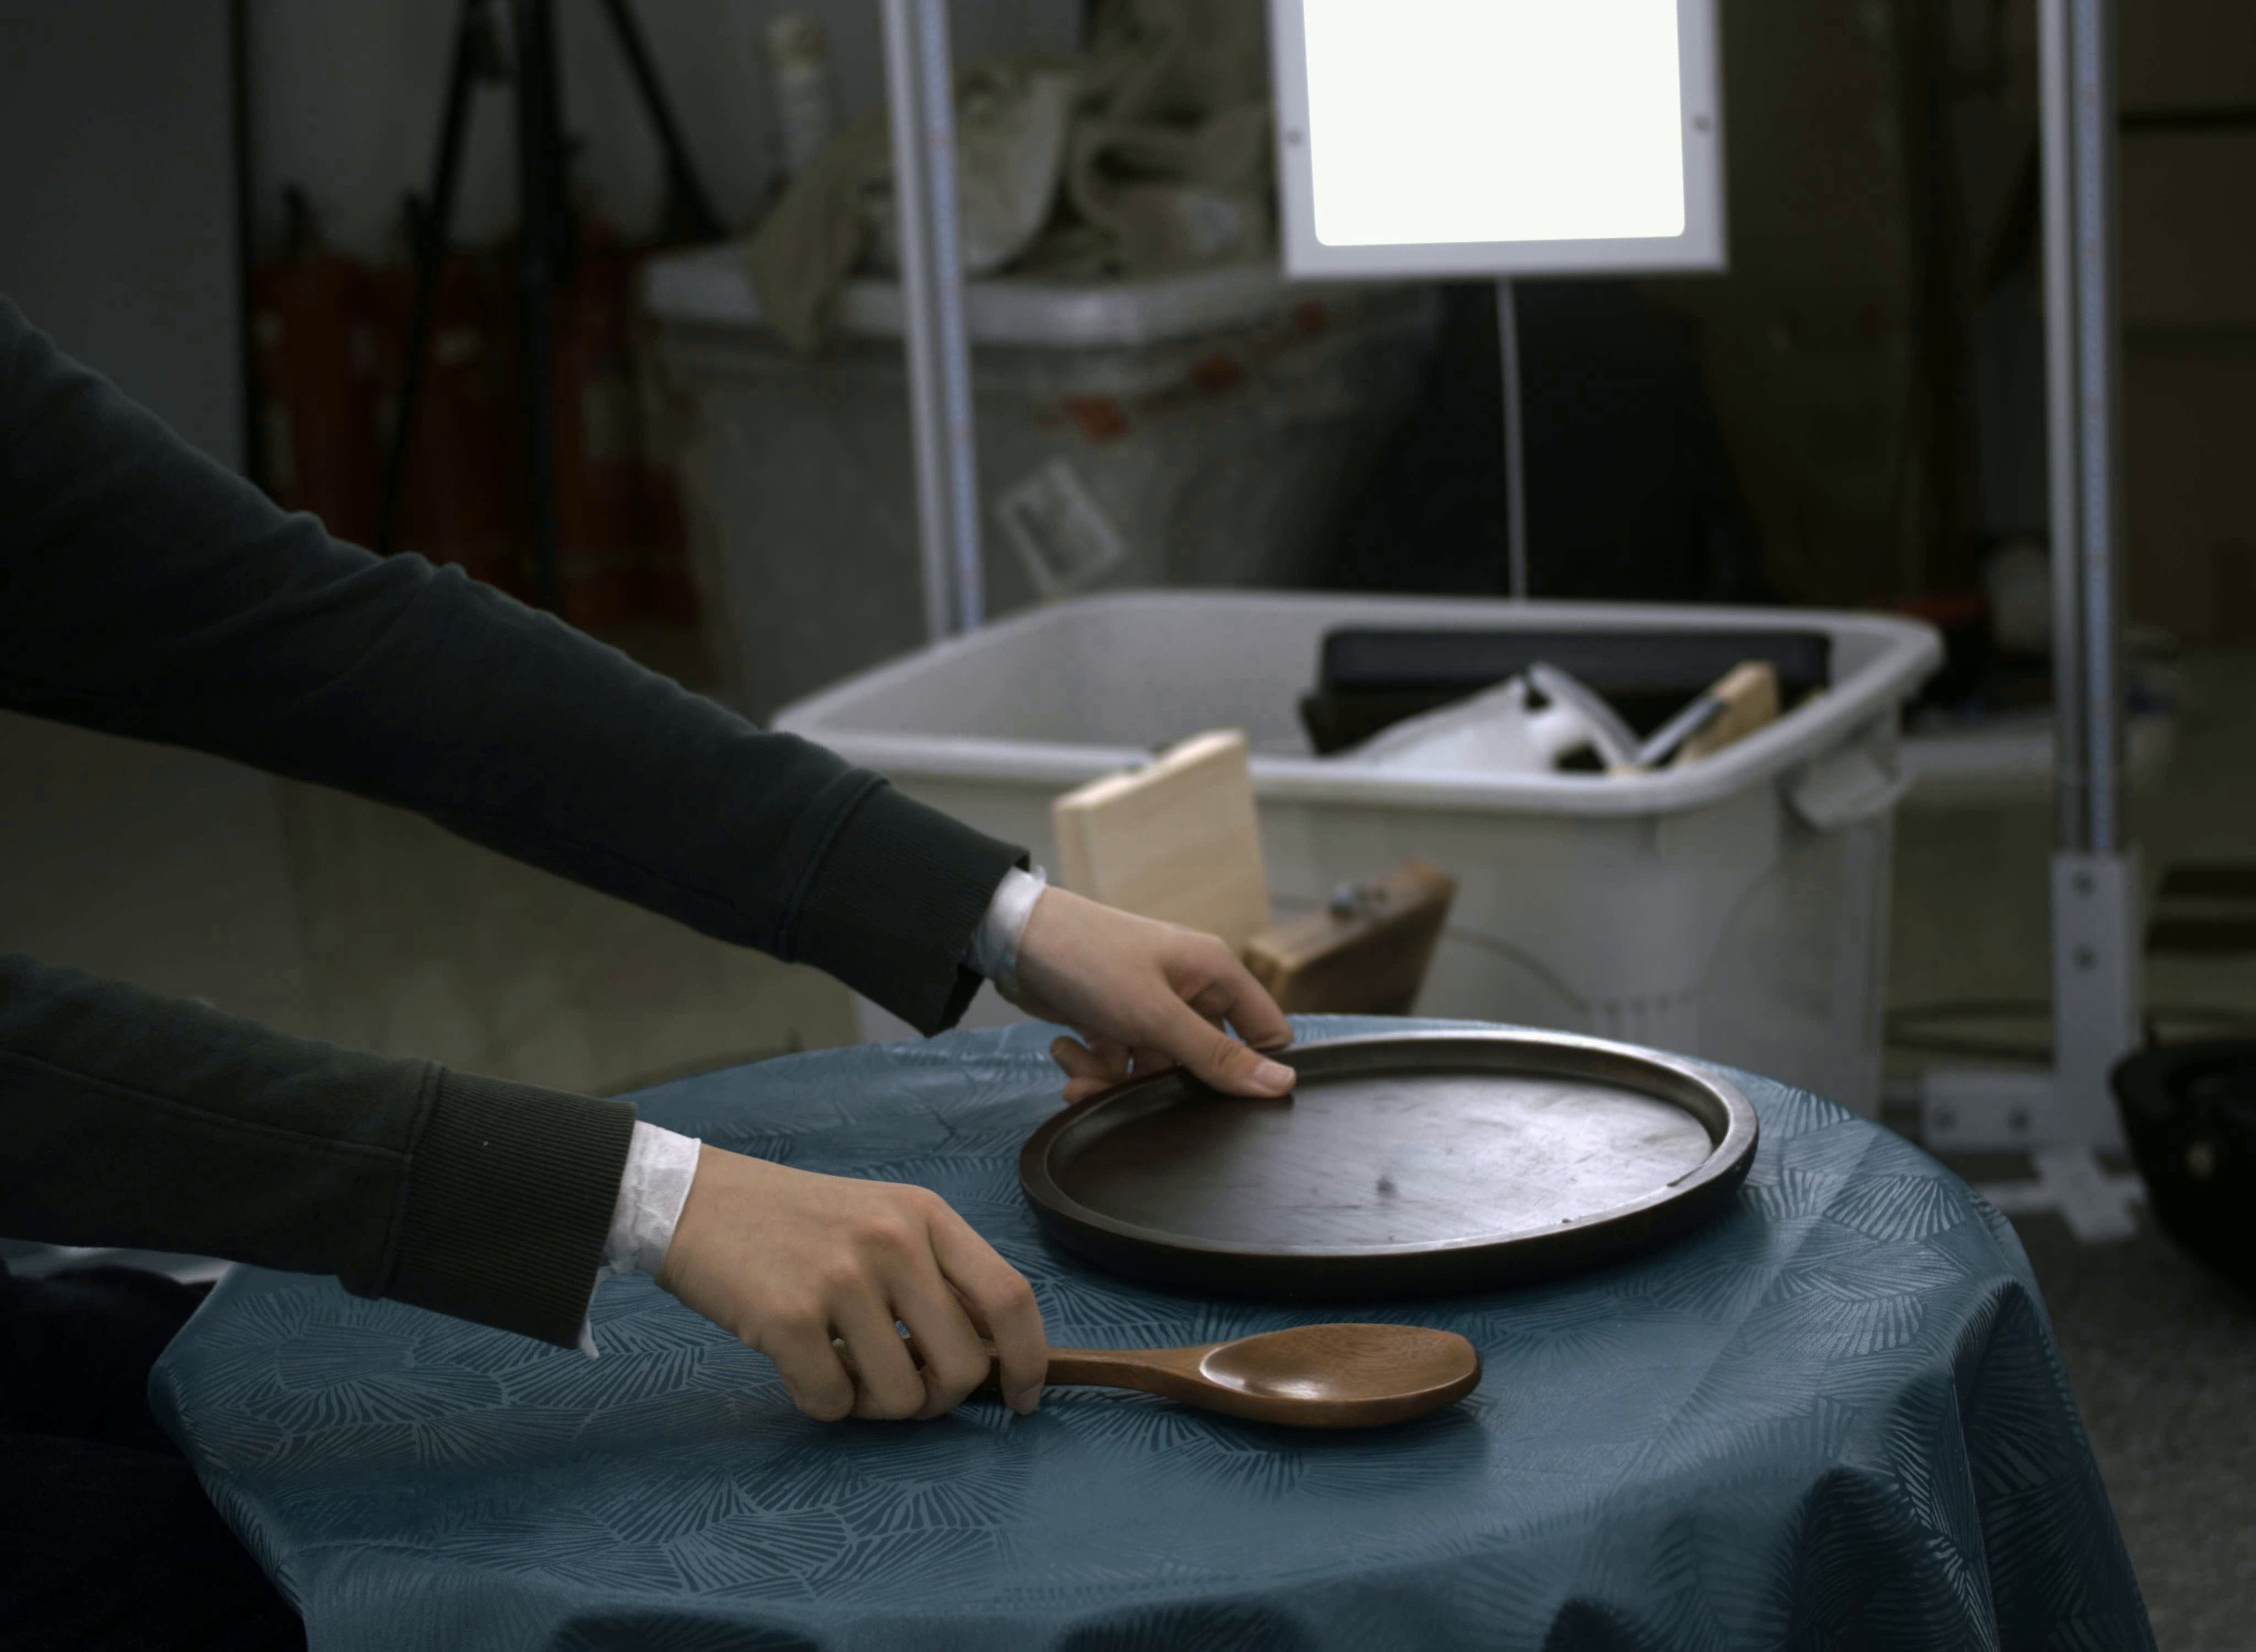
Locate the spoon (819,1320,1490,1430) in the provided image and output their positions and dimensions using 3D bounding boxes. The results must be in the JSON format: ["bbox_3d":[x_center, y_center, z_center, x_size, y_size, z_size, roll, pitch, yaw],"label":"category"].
[{"bbox_3d":[0.007,0.167,1.691,0.219,0.017,0.074,1,15,21],"label":"spoon"}]

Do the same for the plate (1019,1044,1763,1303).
[{"bbox_3d":[0.089,0.115,1.866,0.254,0.029,0.254,-4,13,0],"label":"plate"}]
